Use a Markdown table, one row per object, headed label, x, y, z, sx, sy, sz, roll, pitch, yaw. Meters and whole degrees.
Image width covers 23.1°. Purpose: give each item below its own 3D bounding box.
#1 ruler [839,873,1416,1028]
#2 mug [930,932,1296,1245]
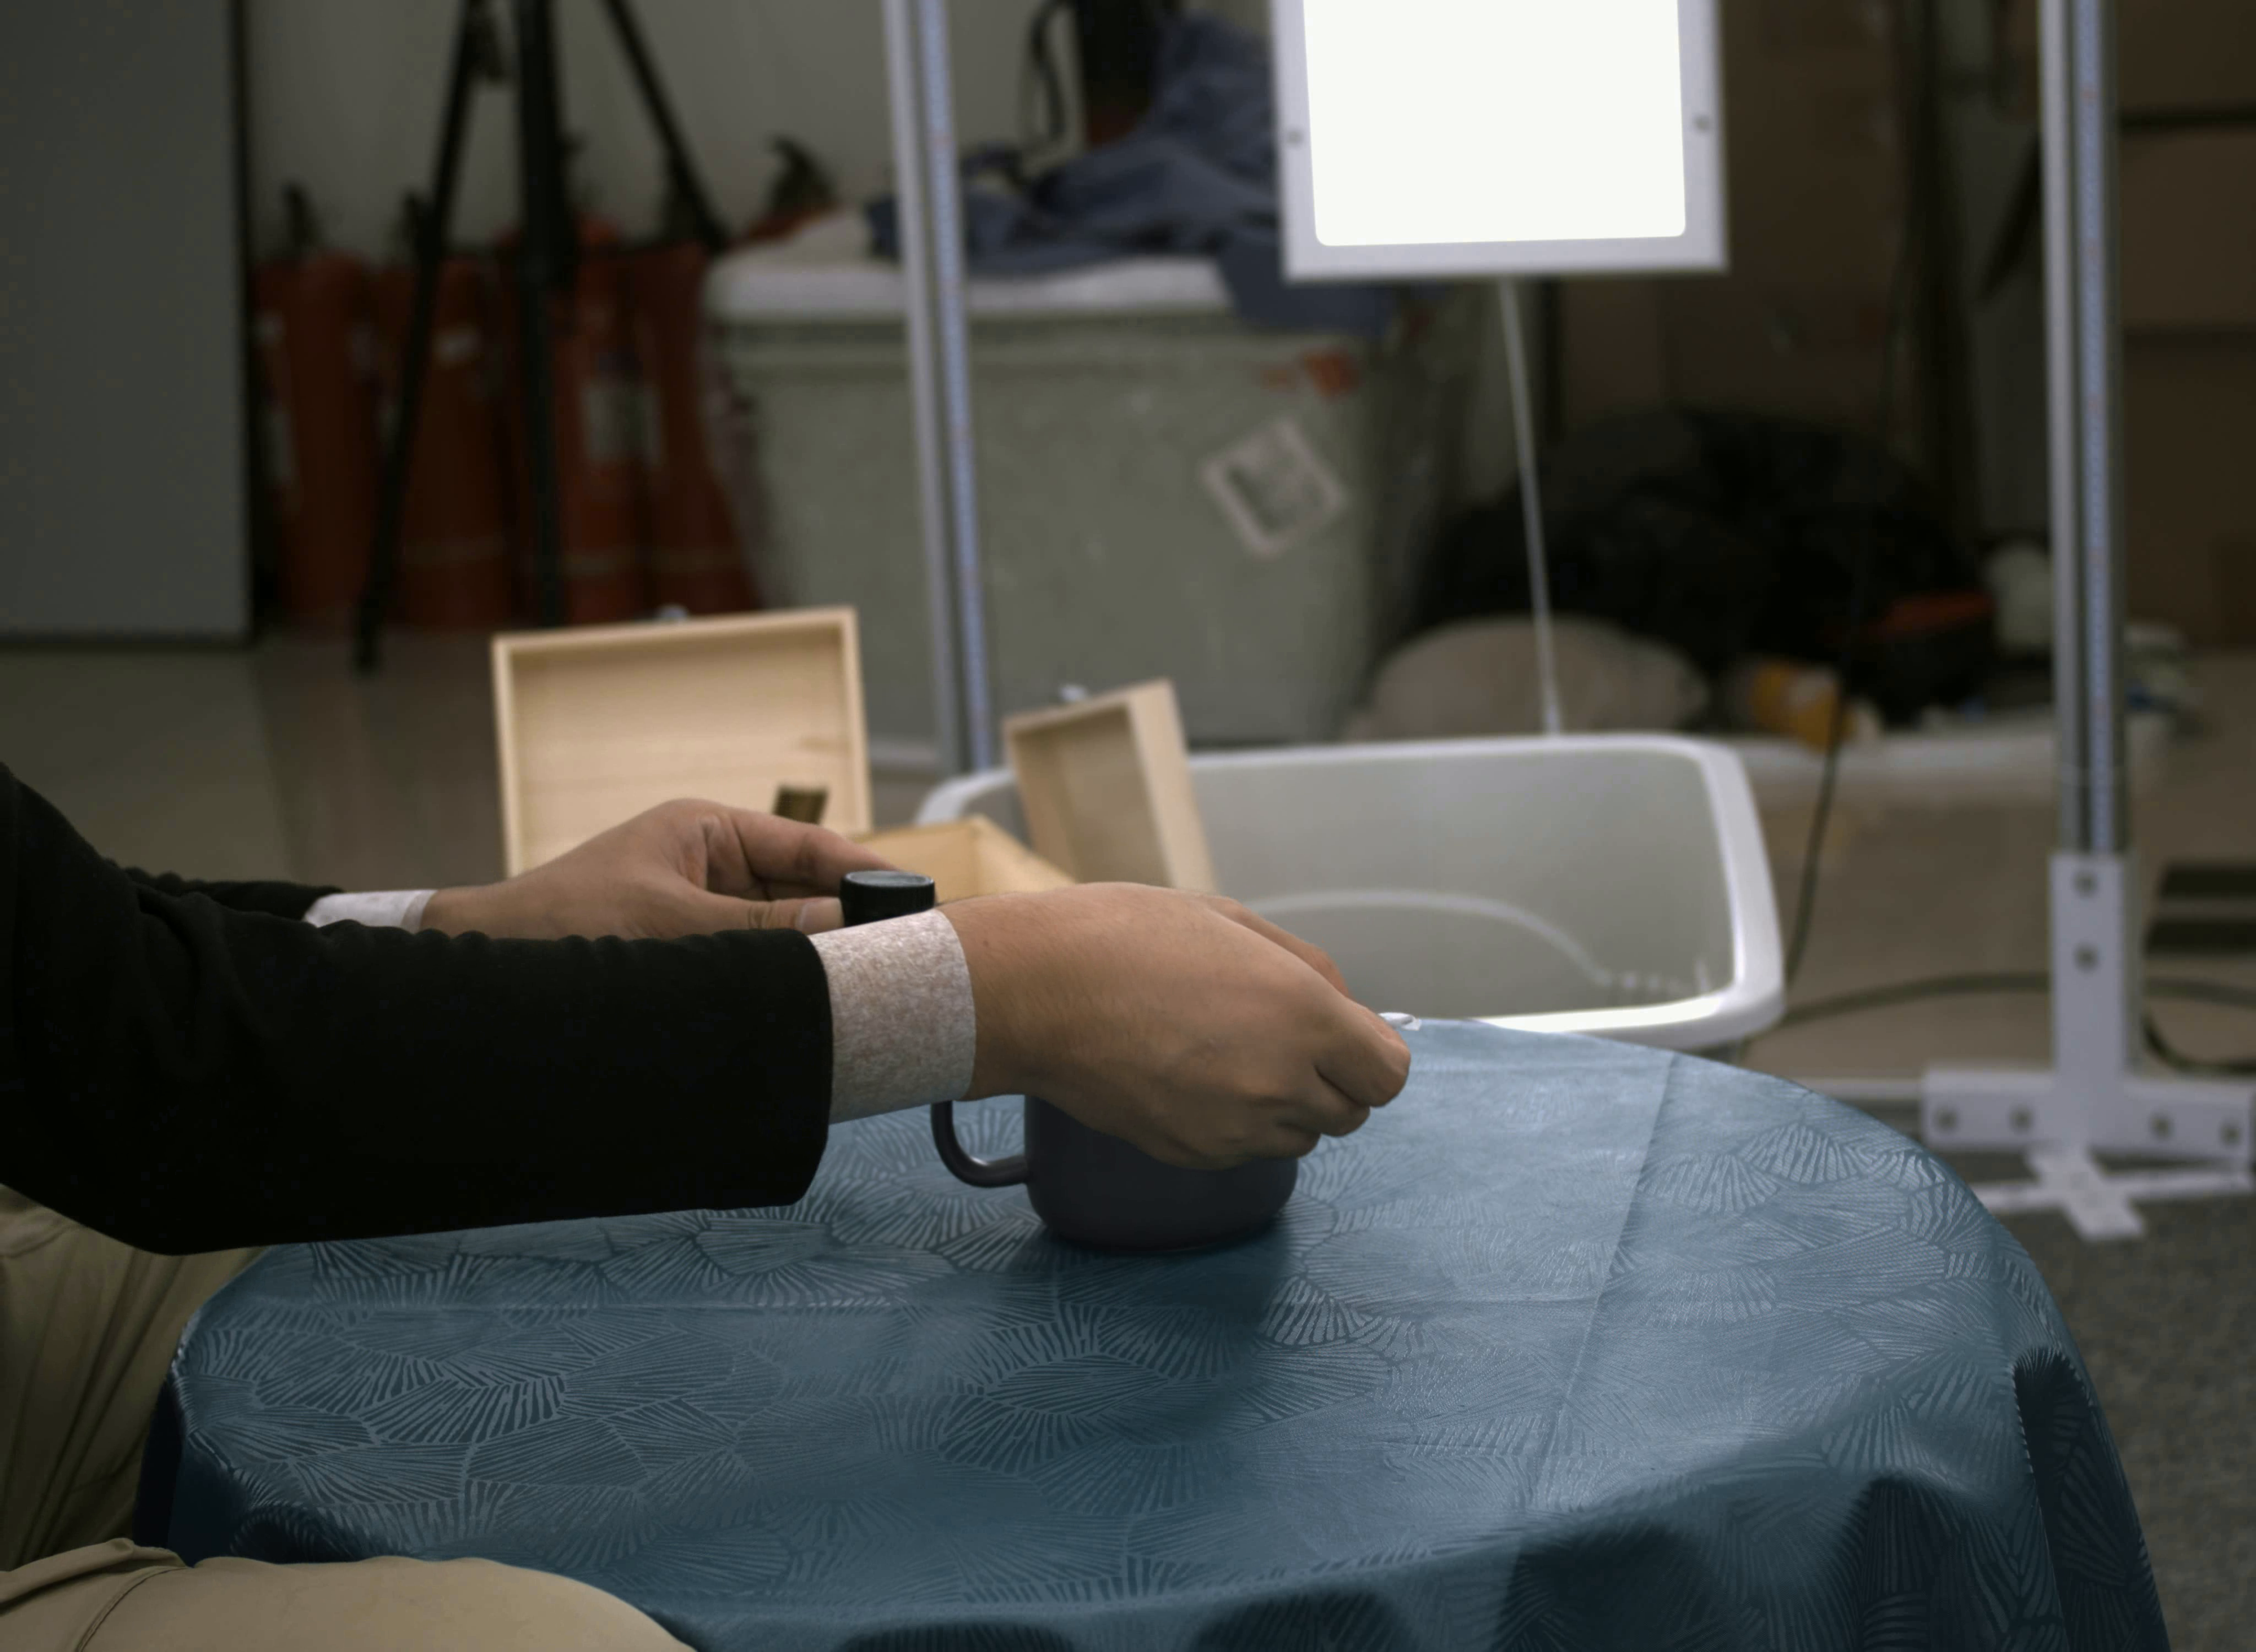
| label | x | y | z | sx | sy | sz | roll | pitch | yaw |
| --- | --- | --- | --- | --- | --- | --- | --- | --- | --- |
| ruler | -0.006 | 0.040 | 1.808 | 0.222 | 0.024 | 0.037 | 7 | 17 | 36 |
| mug | -0.005 | 0.089 | 1.855 | 0.123 | 0.090 | 0.093 | -3 | 13 | 0 |
